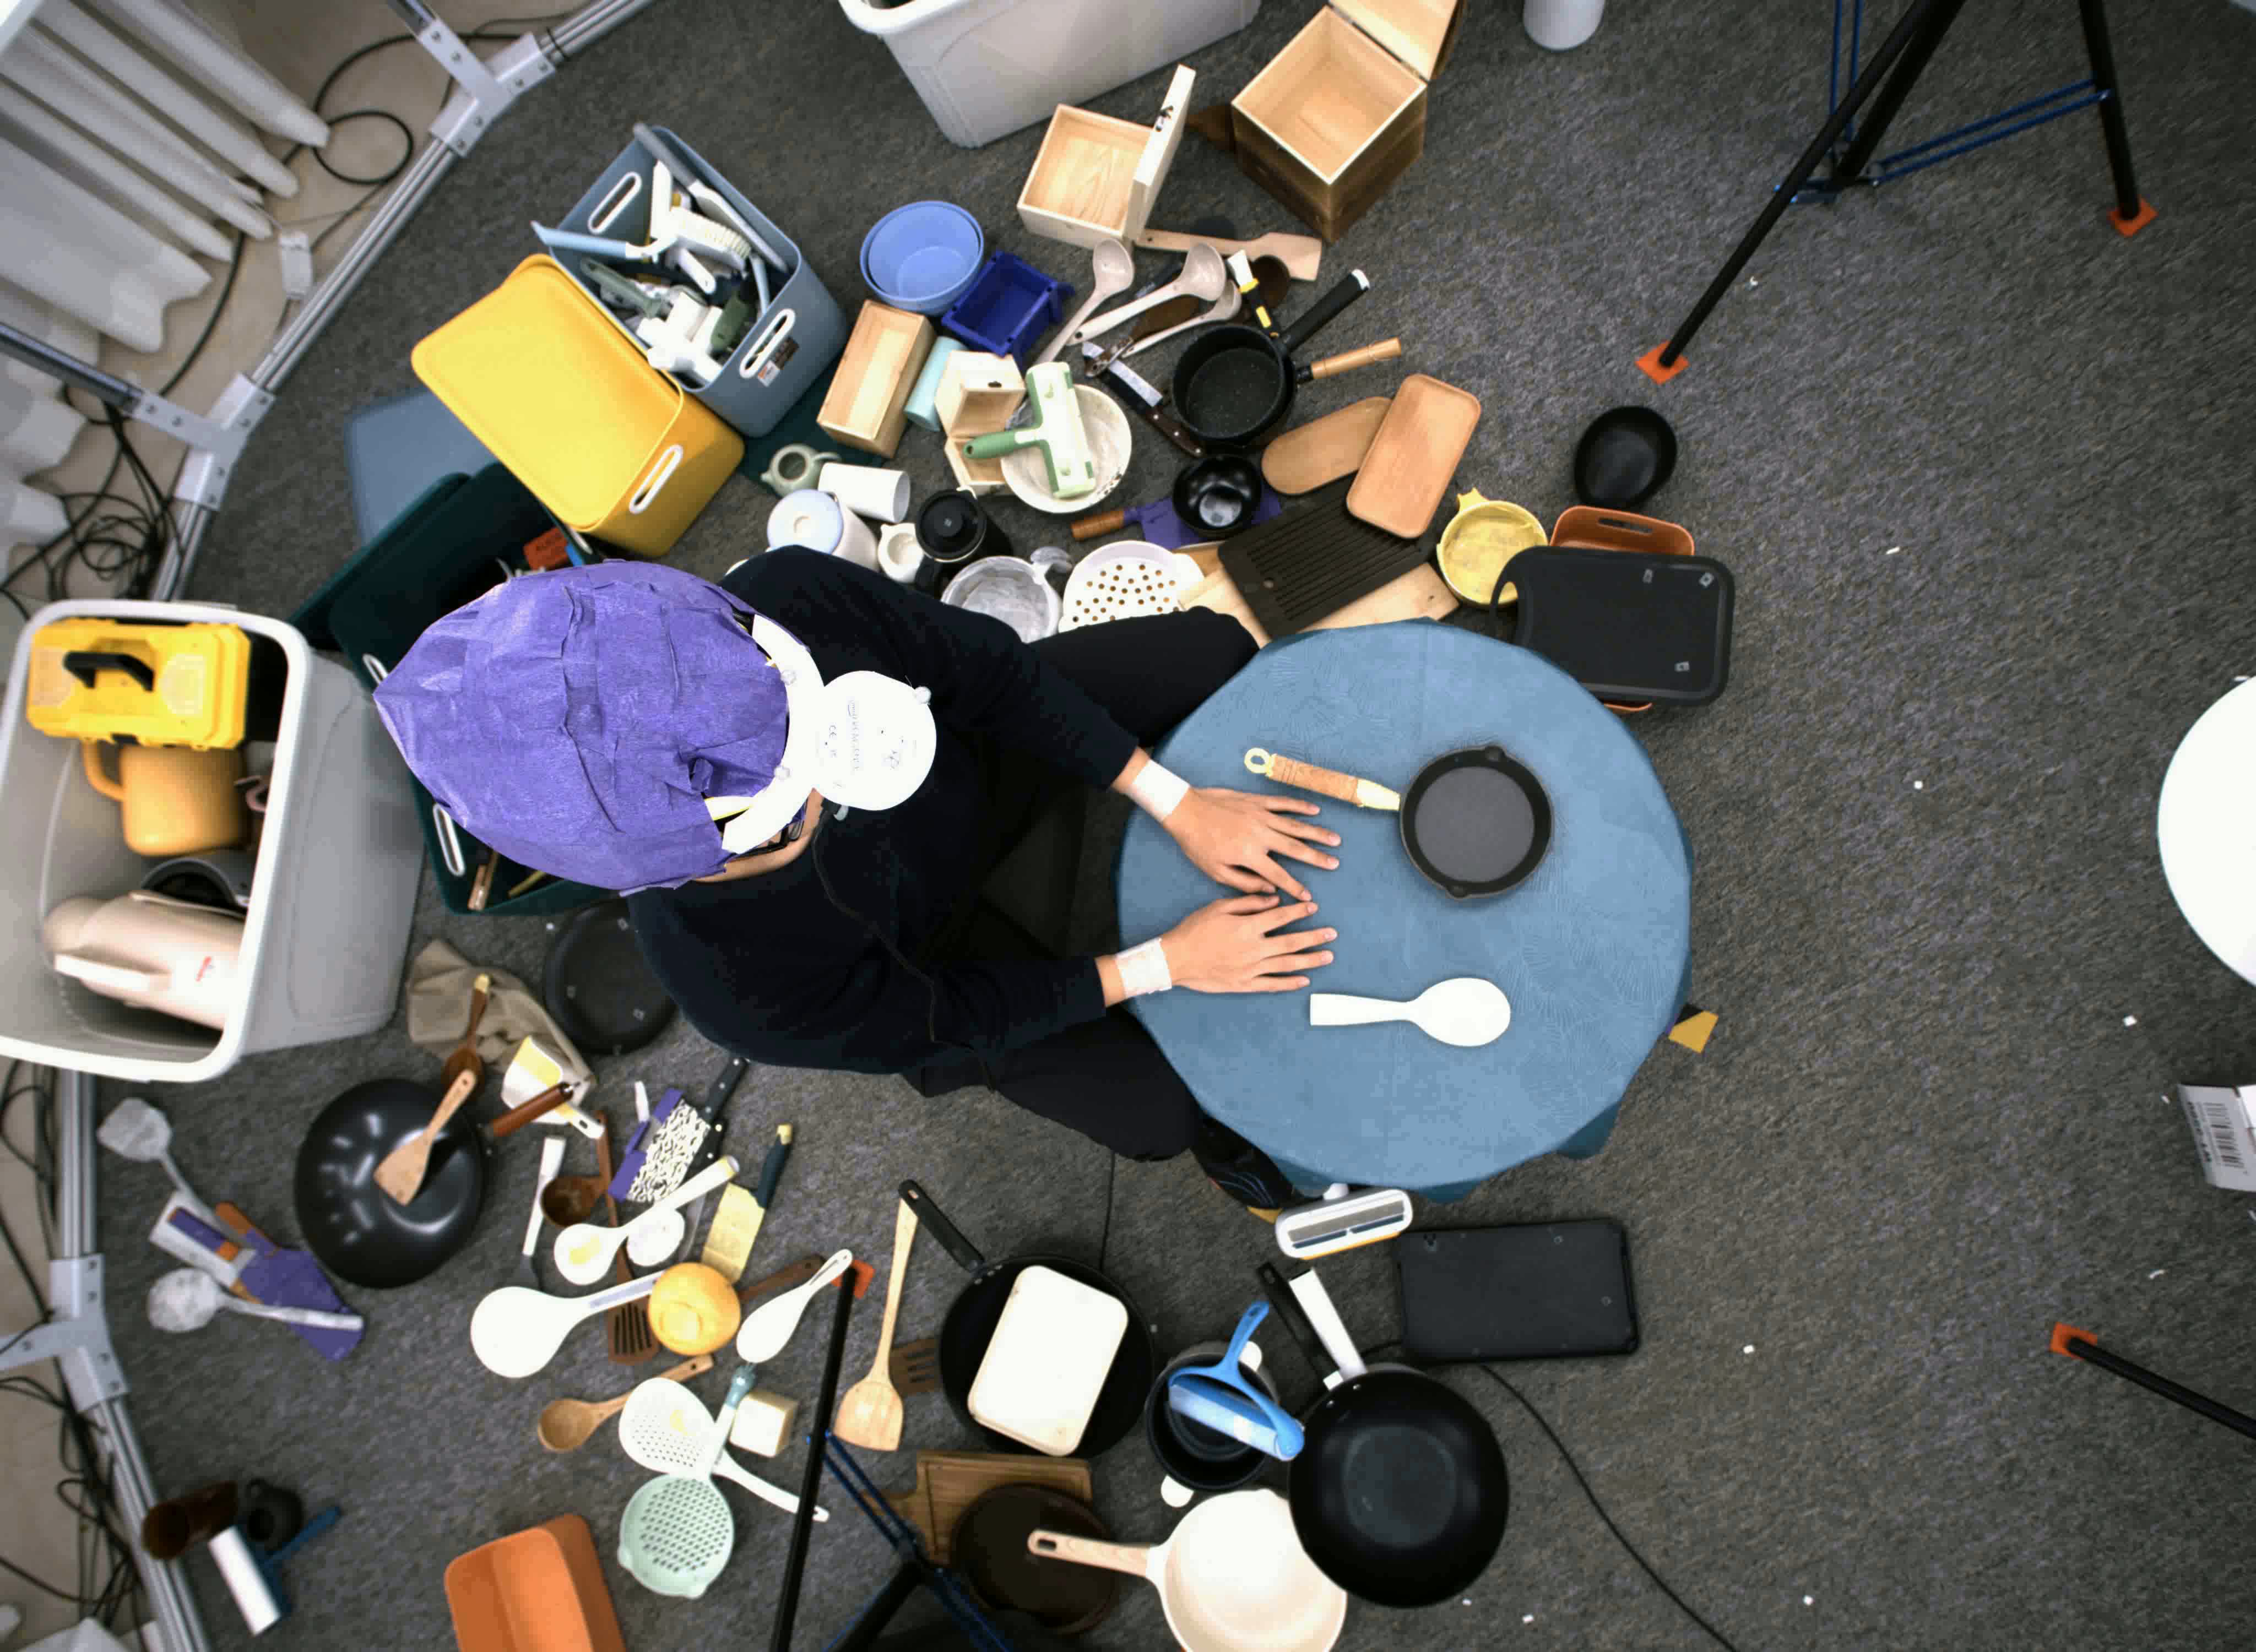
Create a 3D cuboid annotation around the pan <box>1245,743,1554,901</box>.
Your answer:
[{"bbox_3d":[0.280,-0.030,1.438,0.324,0.049,0.169,17,90,10],"label":"pan"}]

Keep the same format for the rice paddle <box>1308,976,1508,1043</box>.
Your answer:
[{"bbox_3d":[0.290,0.189,1.435,0.206,0.029,0.068,-1,88,11],"label":"rice paddle"}]
